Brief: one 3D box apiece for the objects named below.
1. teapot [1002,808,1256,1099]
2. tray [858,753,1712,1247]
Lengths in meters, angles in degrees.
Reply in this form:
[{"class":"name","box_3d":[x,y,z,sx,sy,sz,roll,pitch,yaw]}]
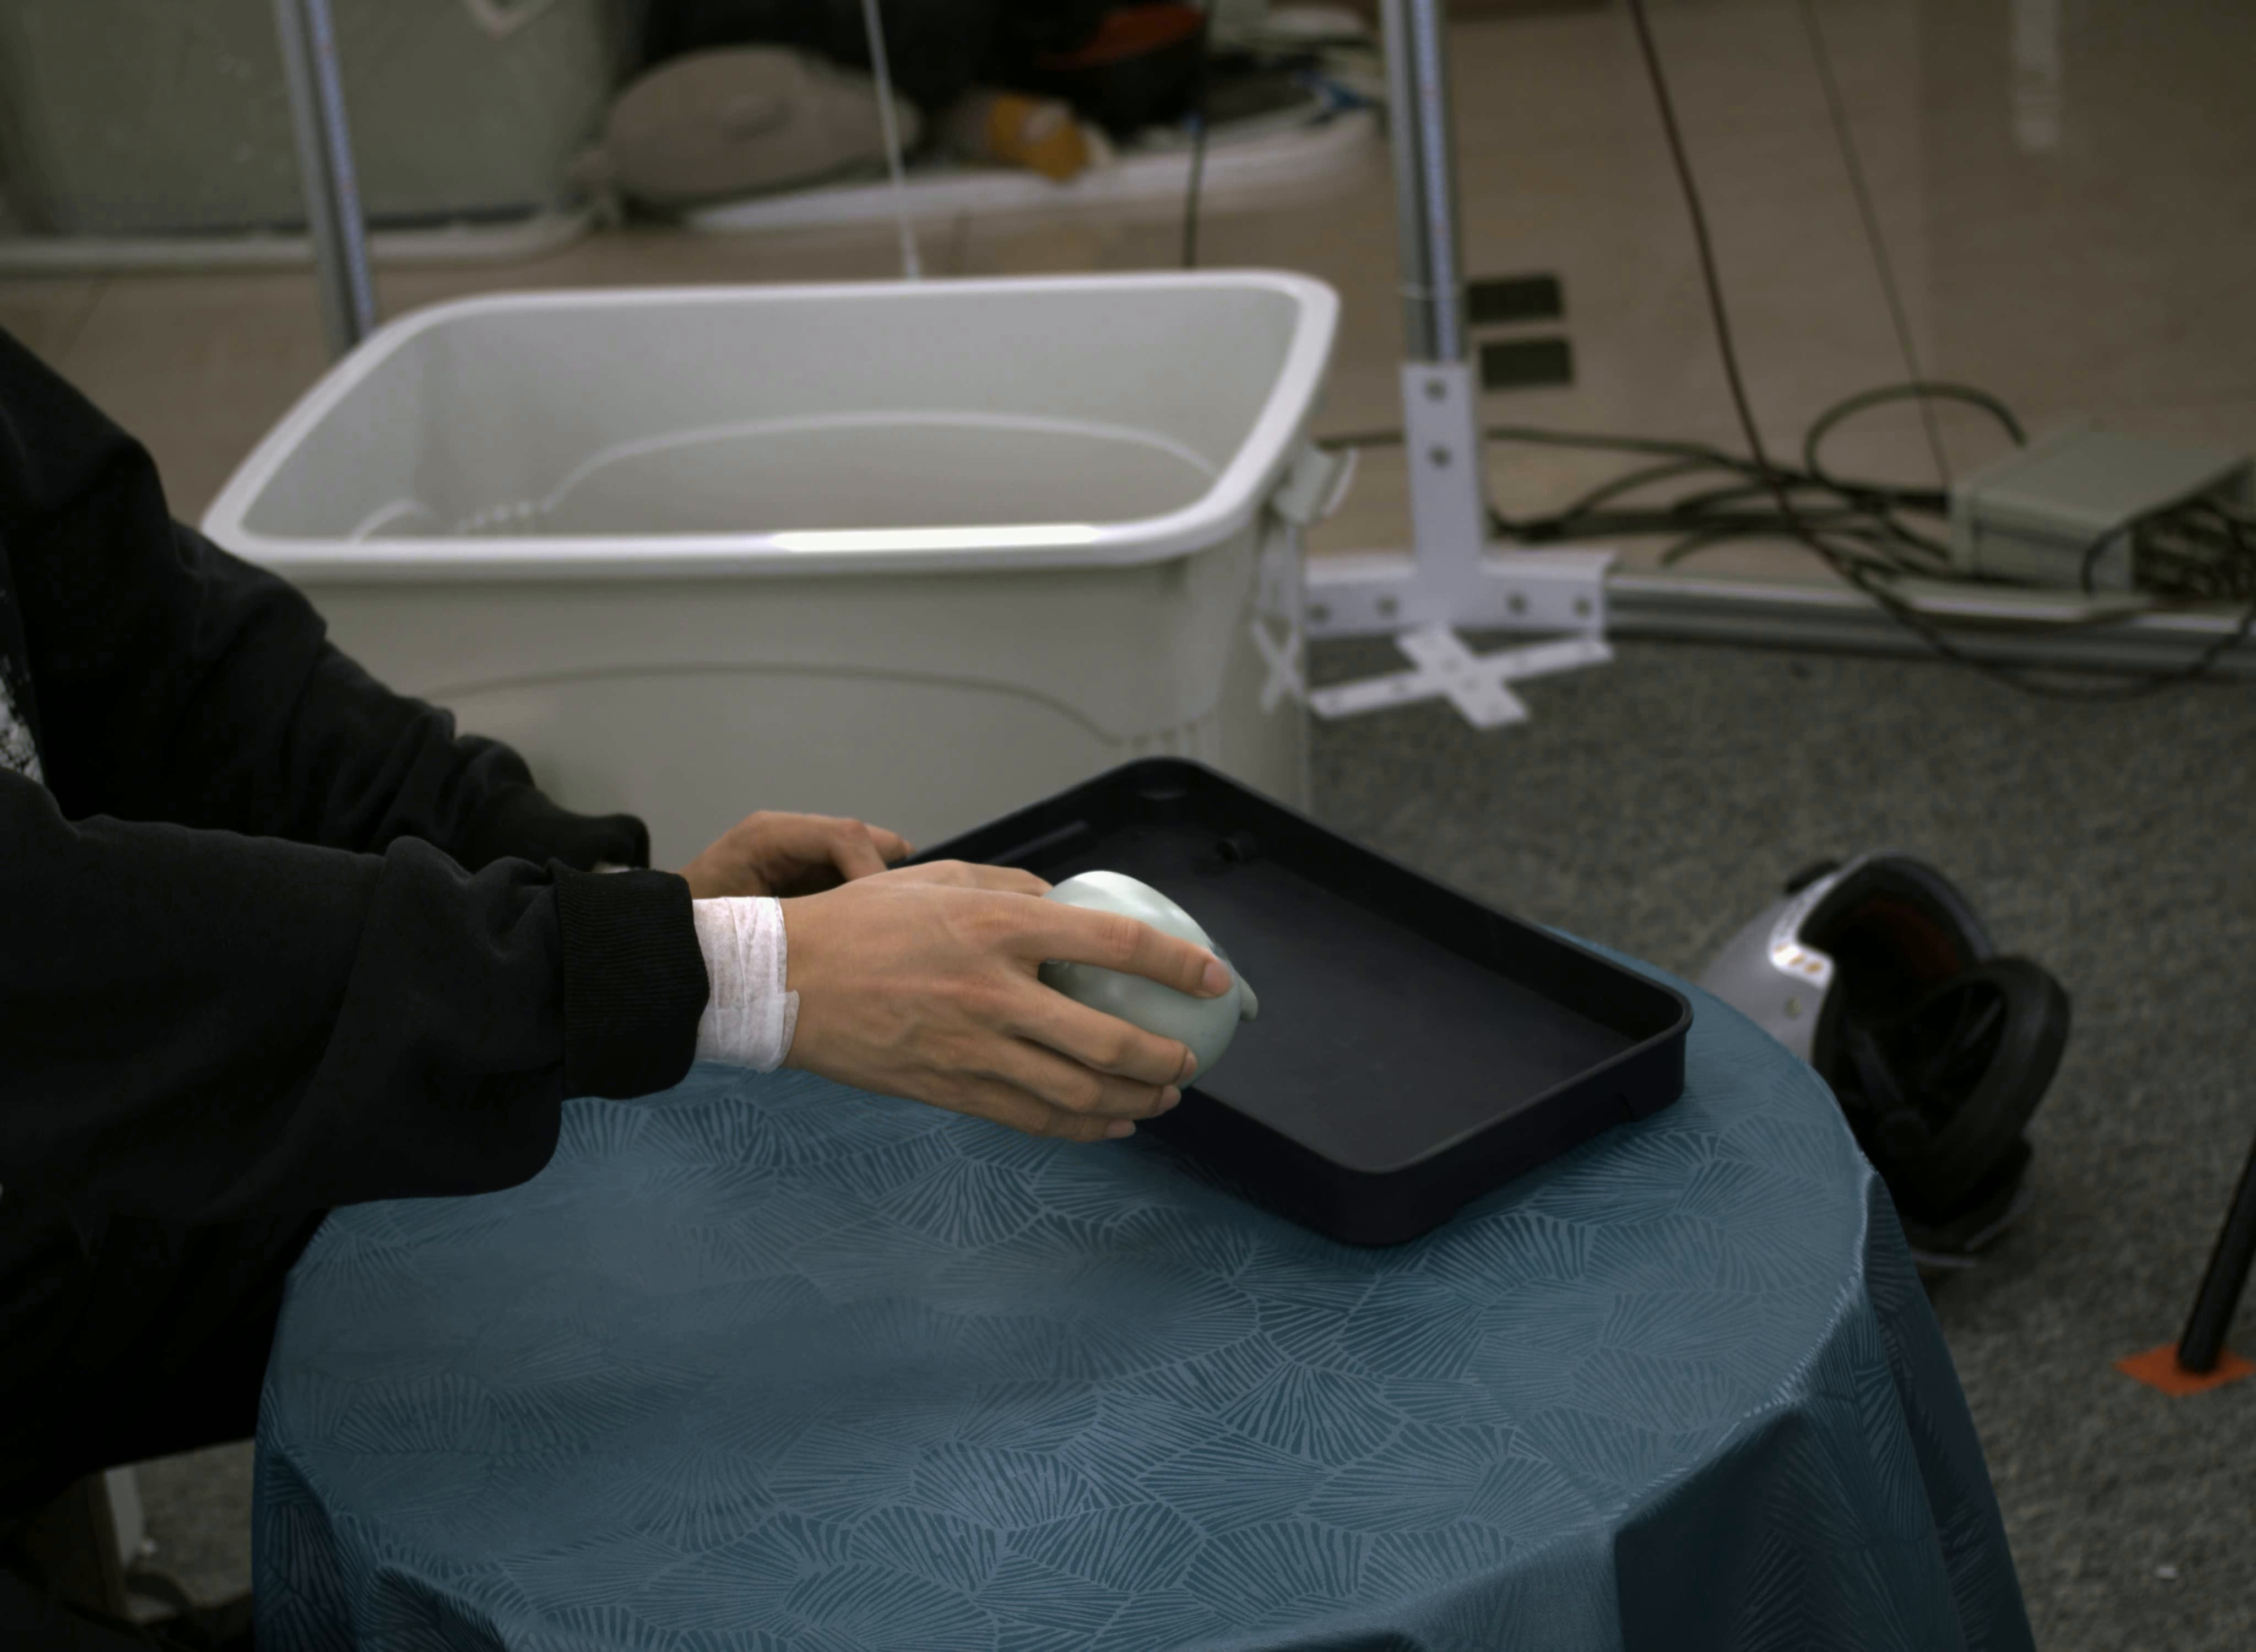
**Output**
[{"class":"teapot","box_3d":[-0.002,0.057,2.059,0.087,0.146,0.074,29,74,39]},{"class":"tray","box_3d":[0.058,0.063,2.218,0.183,0.037,0.315,-24,36,-37]}]
